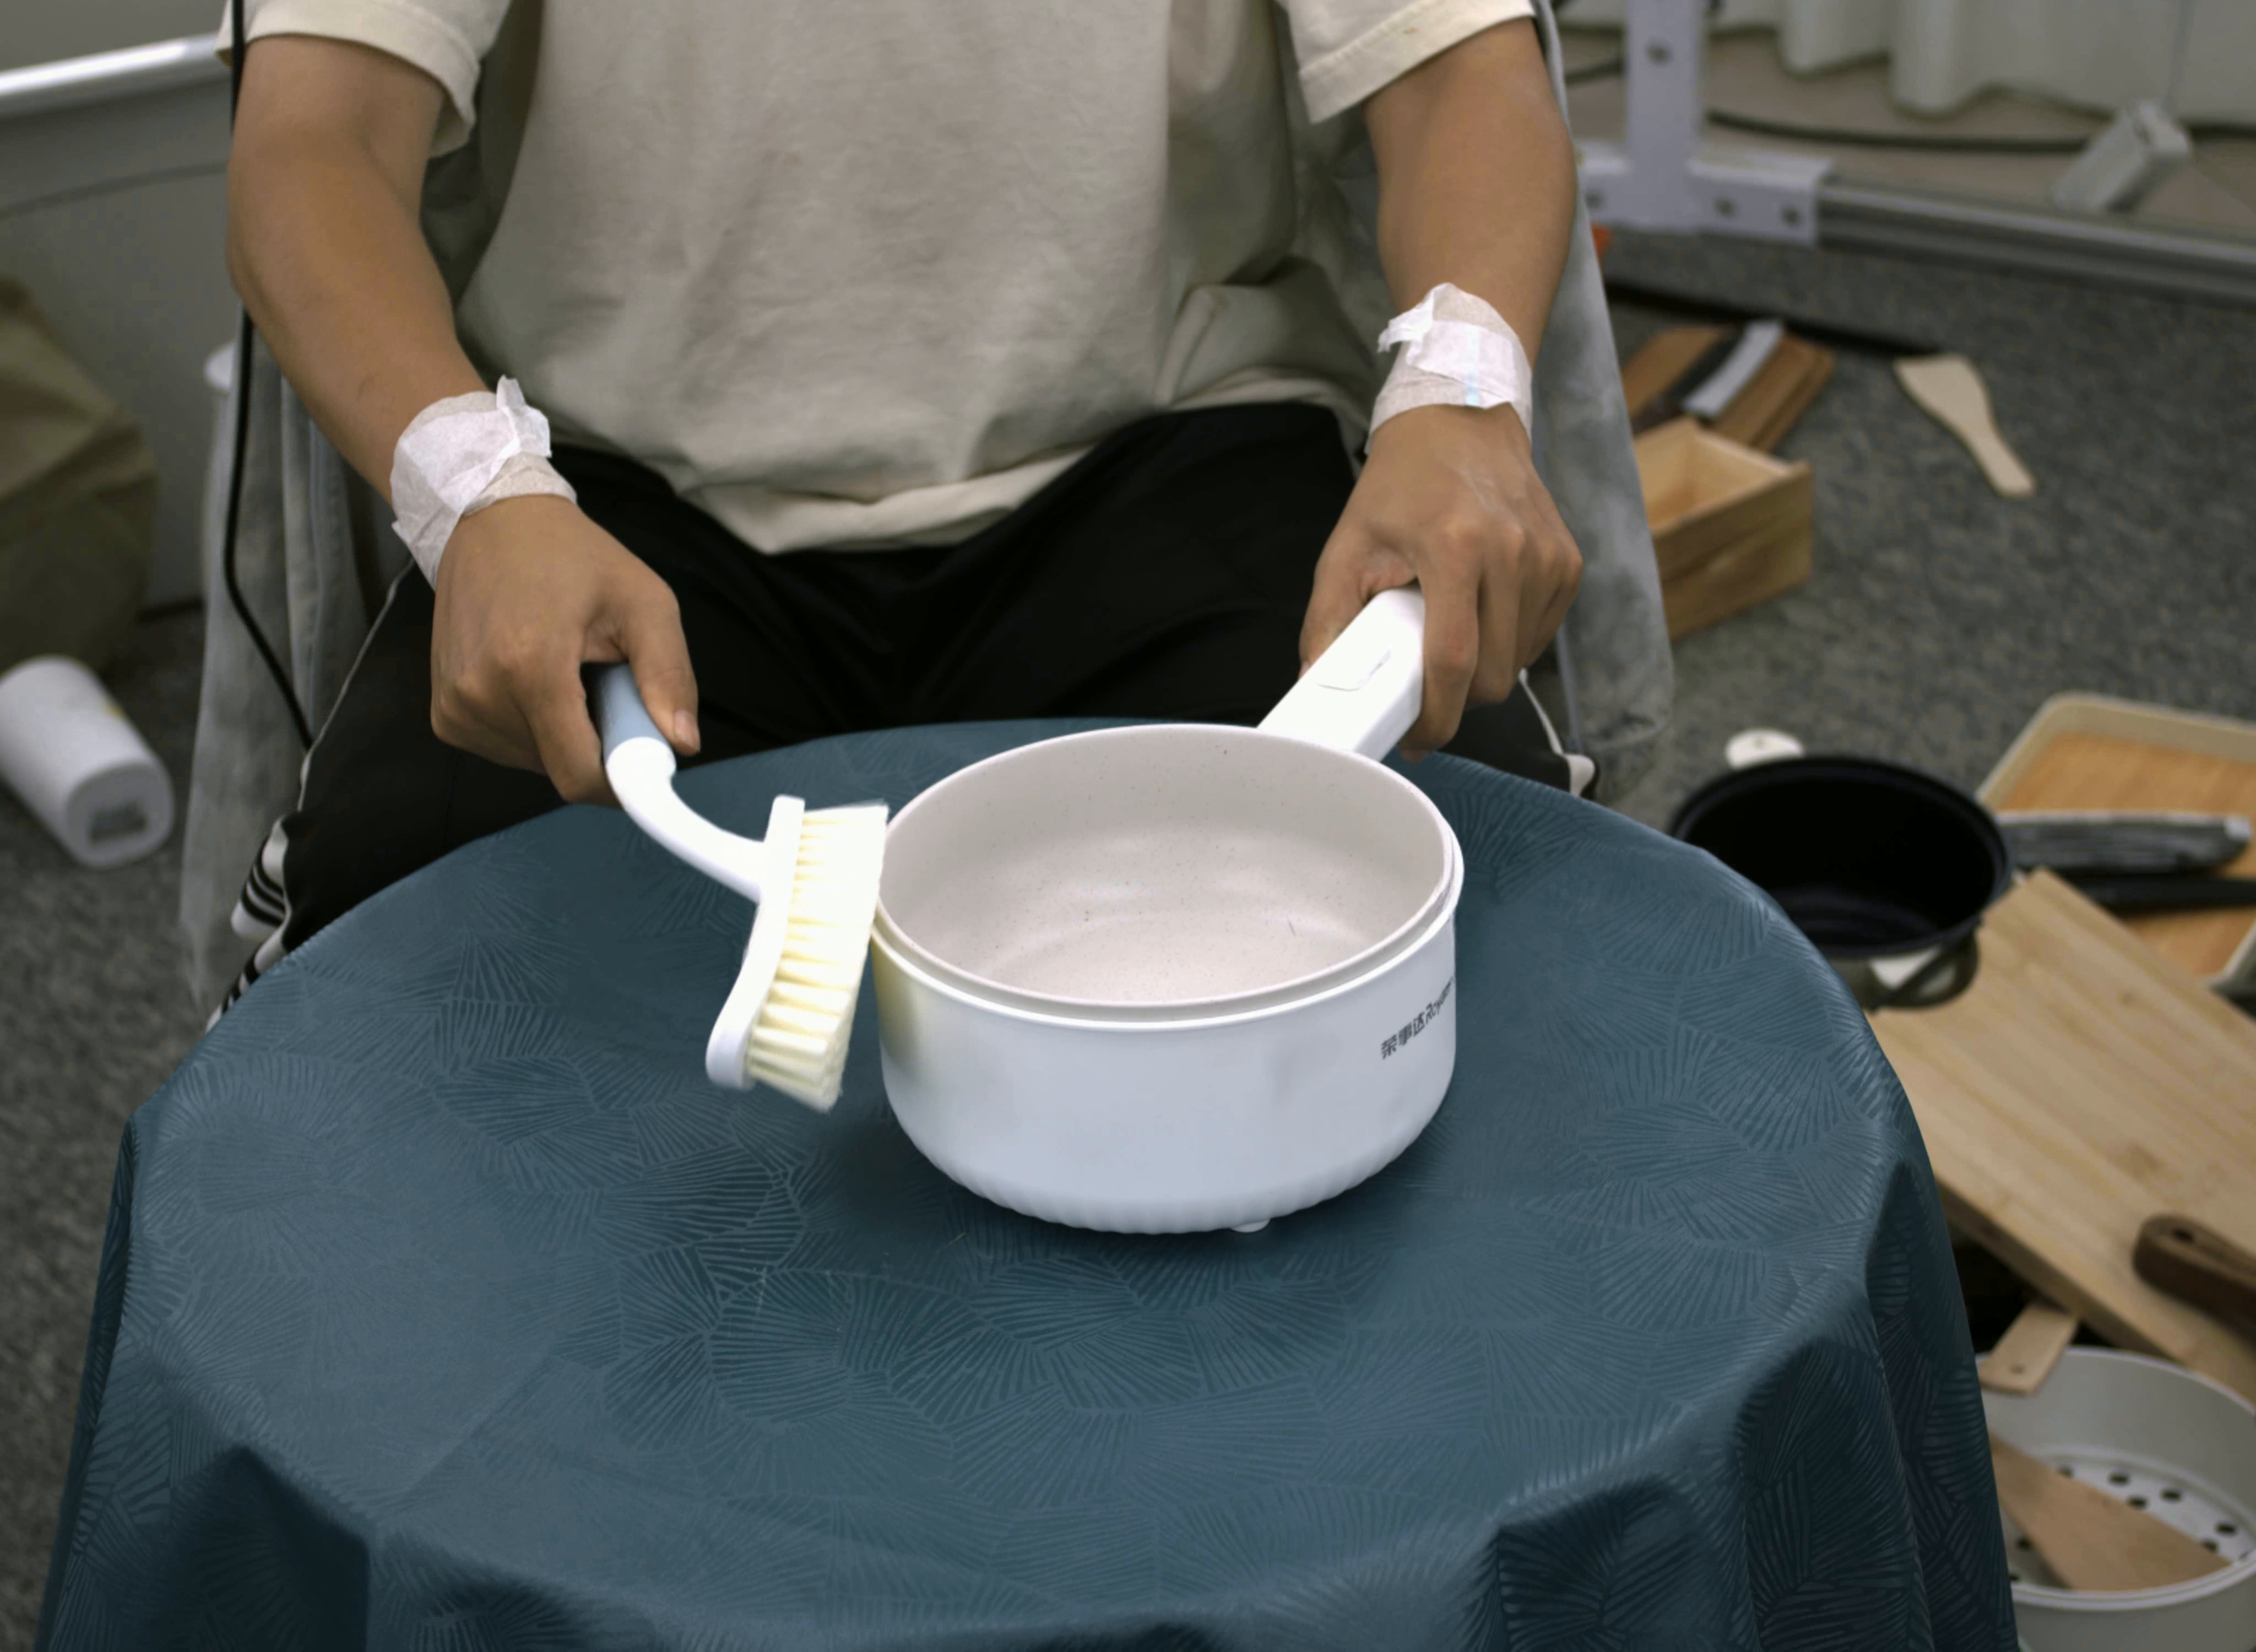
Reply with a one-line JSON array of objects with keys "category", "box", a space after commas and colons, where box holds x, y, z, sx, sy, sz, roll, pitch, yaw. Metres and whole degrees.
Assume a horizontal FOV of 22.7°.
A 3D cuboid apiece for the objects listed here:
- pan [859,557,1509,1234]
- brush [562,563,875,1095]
[{"category": "pan", "box": [0.046, 0.021, 1.941, 0.200, 0.101, 0.361, 10, 29, 23]}, {"category": "brush", "box": [-0.127, -0.009, 1.924, 0.082, 0.084, 0.330, -41, 29, 12]}]
